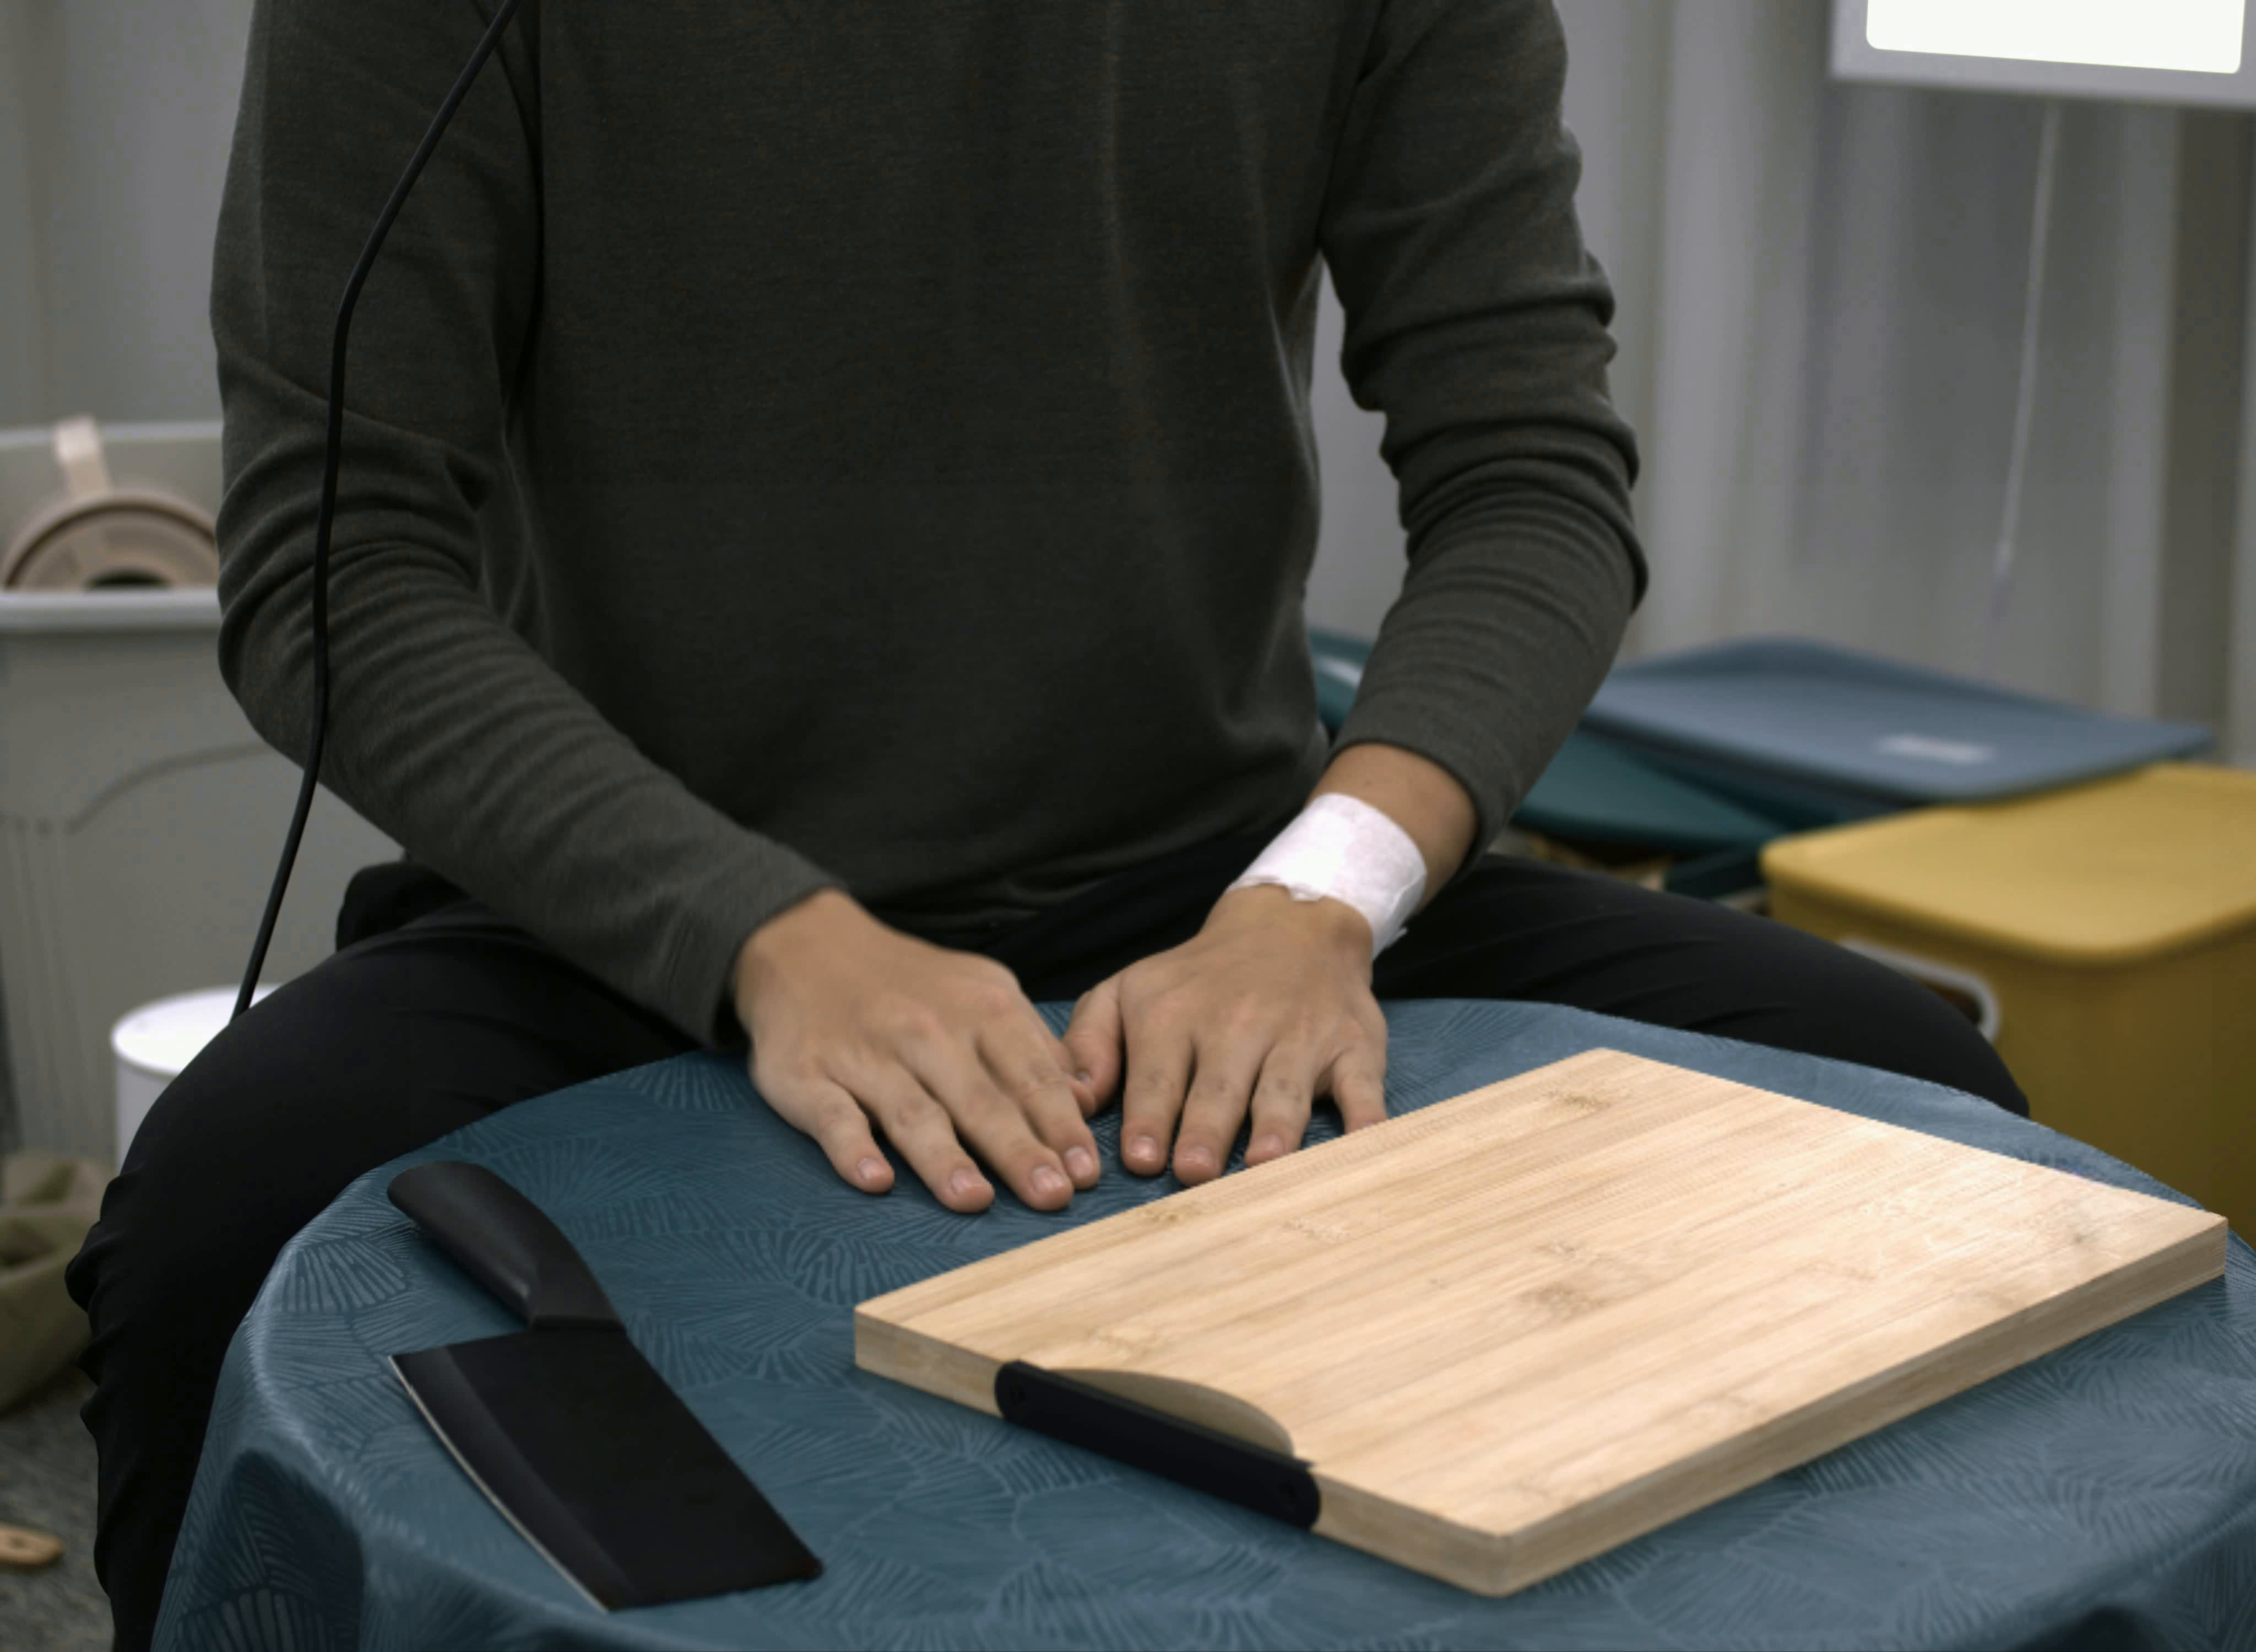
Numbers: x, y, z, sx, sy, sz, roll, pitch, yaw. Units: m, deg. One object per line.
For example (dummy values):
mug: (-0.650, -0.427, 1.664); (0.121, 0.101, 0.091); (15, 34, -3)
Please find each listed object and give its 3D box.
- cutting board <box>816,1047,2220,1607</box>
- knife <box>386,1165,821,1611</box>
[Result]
cutting board: (0.119, 0.135, 1.517); (0.247, 0.024, 0.350); (13, 20, 41)
knife: (-0.161, 0.152, 1.451); (0.081, 0.021, 0.299); (-6, 18, -18)
